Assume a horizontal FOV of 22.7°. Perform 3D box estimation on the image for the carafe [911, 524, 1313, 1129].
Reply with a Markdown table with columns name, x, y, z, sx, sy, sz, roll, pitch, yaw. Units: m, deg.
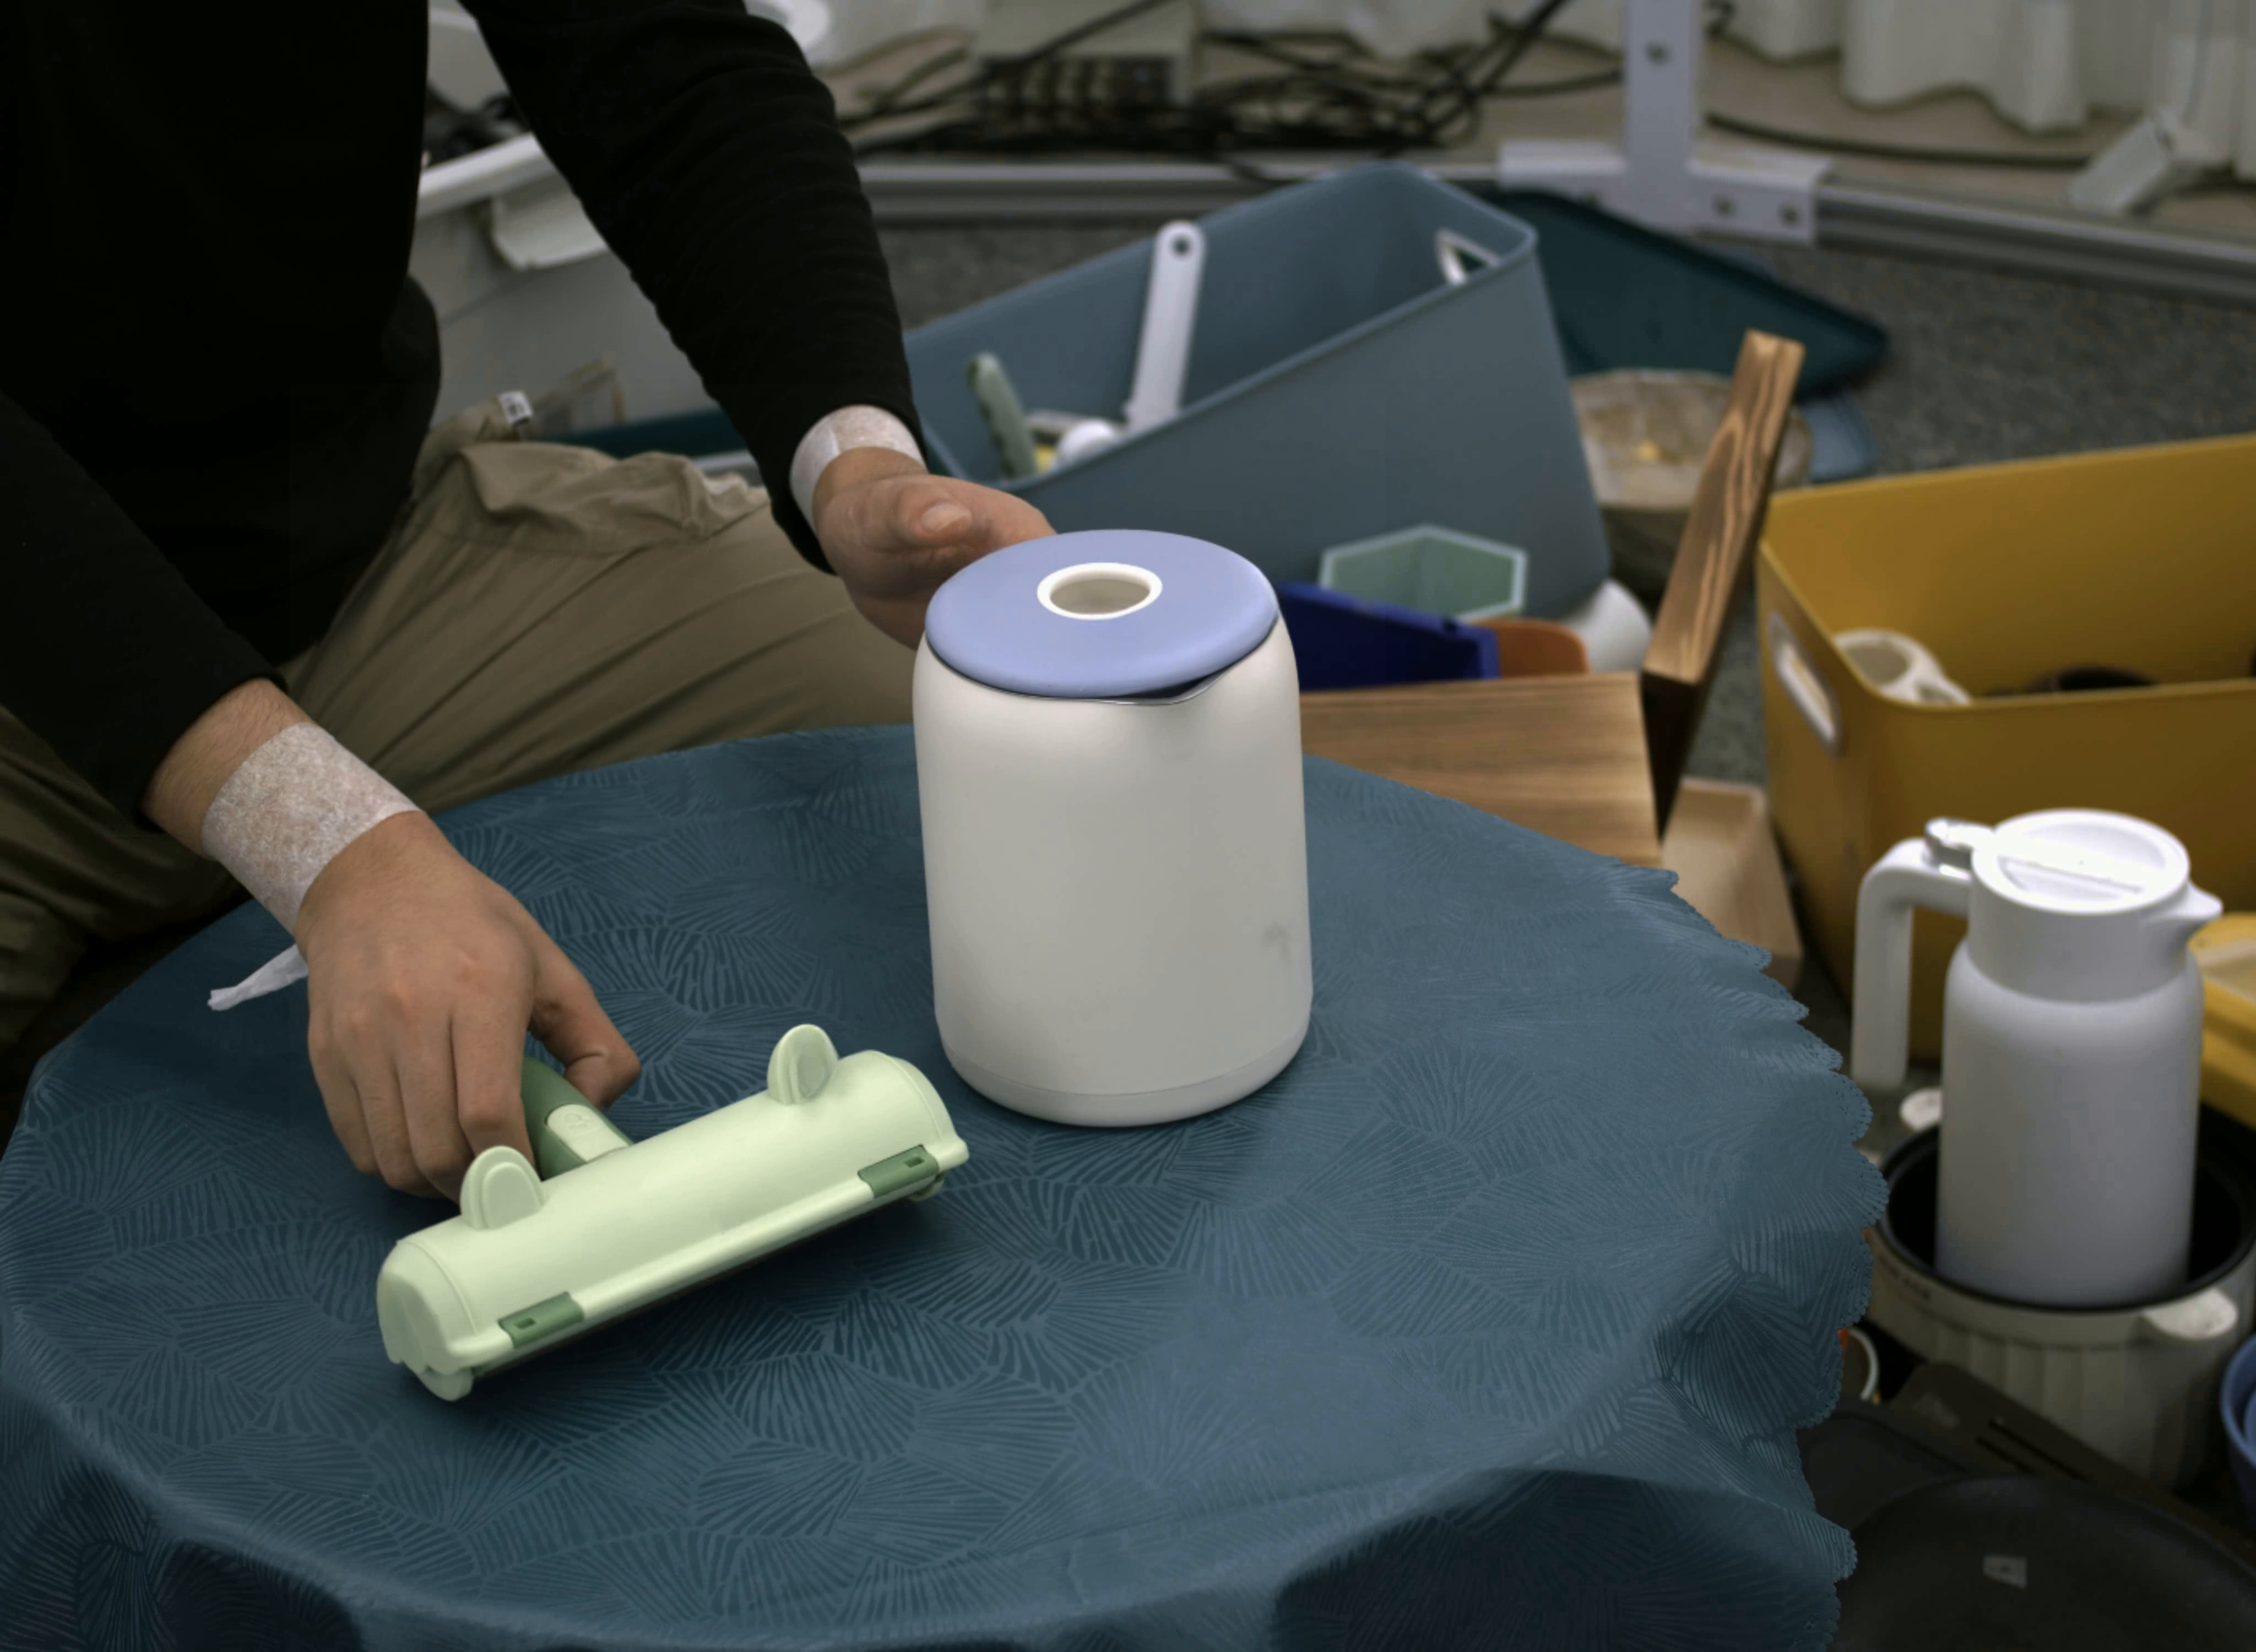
| name | x | y | z | sx | sy | sz | roll | pitch | yaw |
| --- | --- | --- | --- | --- | --- | --- | --- | --- | --- |
| carafe | -0.015 | -0.010 | 1.933 | 0.133 | 0.181 | 0.192 | -13 | 26 | -20 |

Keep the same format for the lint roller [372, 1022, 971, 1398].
| name | x | y | z | sx | sy | sz | roll | pitch | yaw |
| --- | --- | --- | --- | --- | --- | --- | --- | --- | --- |
| lint roller | -0.178 | 0.097 | 1.837 | 0.200 | 0.081 | 0.184 | -20 | 37 | -31 |
